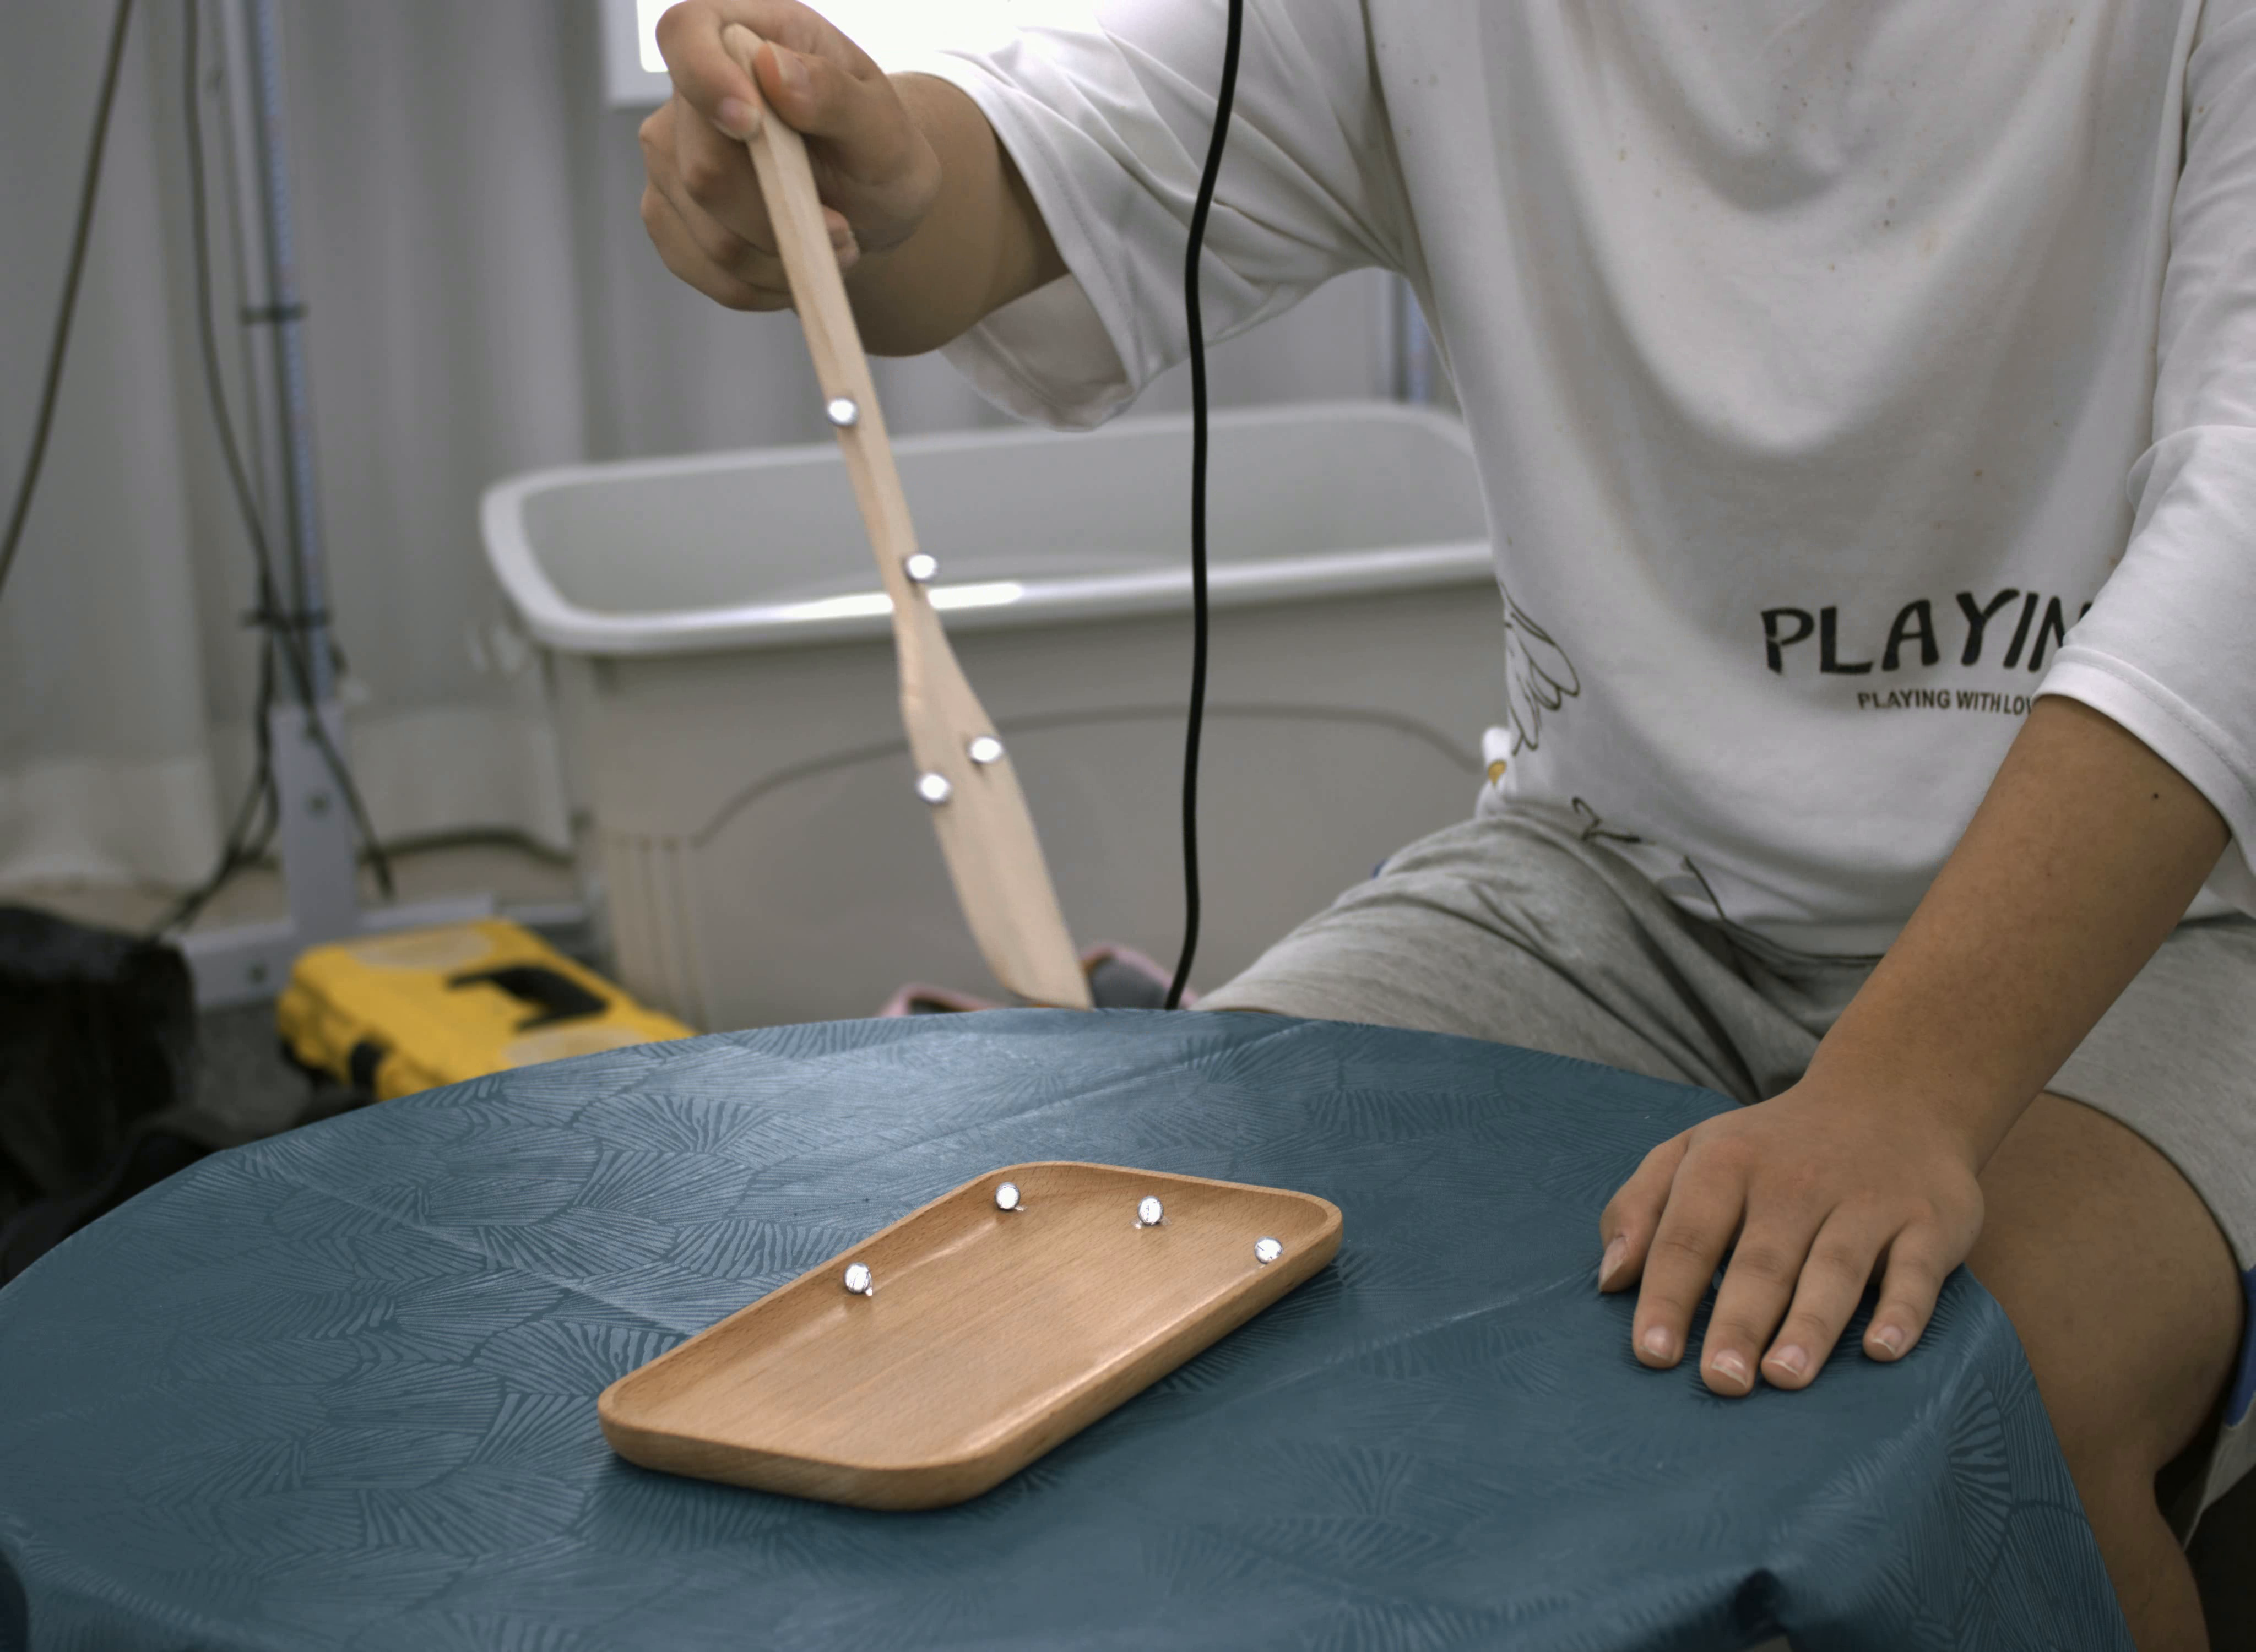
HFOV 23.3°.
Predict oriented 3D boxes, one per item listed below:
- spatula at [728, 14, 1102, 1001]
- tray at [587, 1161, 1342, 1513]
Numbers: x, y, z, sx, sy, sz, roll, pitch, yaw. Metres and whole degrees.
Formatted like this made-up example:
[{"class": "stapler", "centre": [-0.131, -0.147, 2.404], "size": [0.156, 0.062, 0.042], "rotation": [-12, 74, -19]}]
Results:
[{"class": "spatula", "centre": [-0.064, -0.090, 1.512], "size": [0.010, 0.295, 0.072], "rotation": [-21, -12, 16]}, {"class": "tray", "centre": [-0.042, 0.145, 1.581], "size": [0.131, 0.023, 0.251], "rotation": [4, 16, 31]}]
